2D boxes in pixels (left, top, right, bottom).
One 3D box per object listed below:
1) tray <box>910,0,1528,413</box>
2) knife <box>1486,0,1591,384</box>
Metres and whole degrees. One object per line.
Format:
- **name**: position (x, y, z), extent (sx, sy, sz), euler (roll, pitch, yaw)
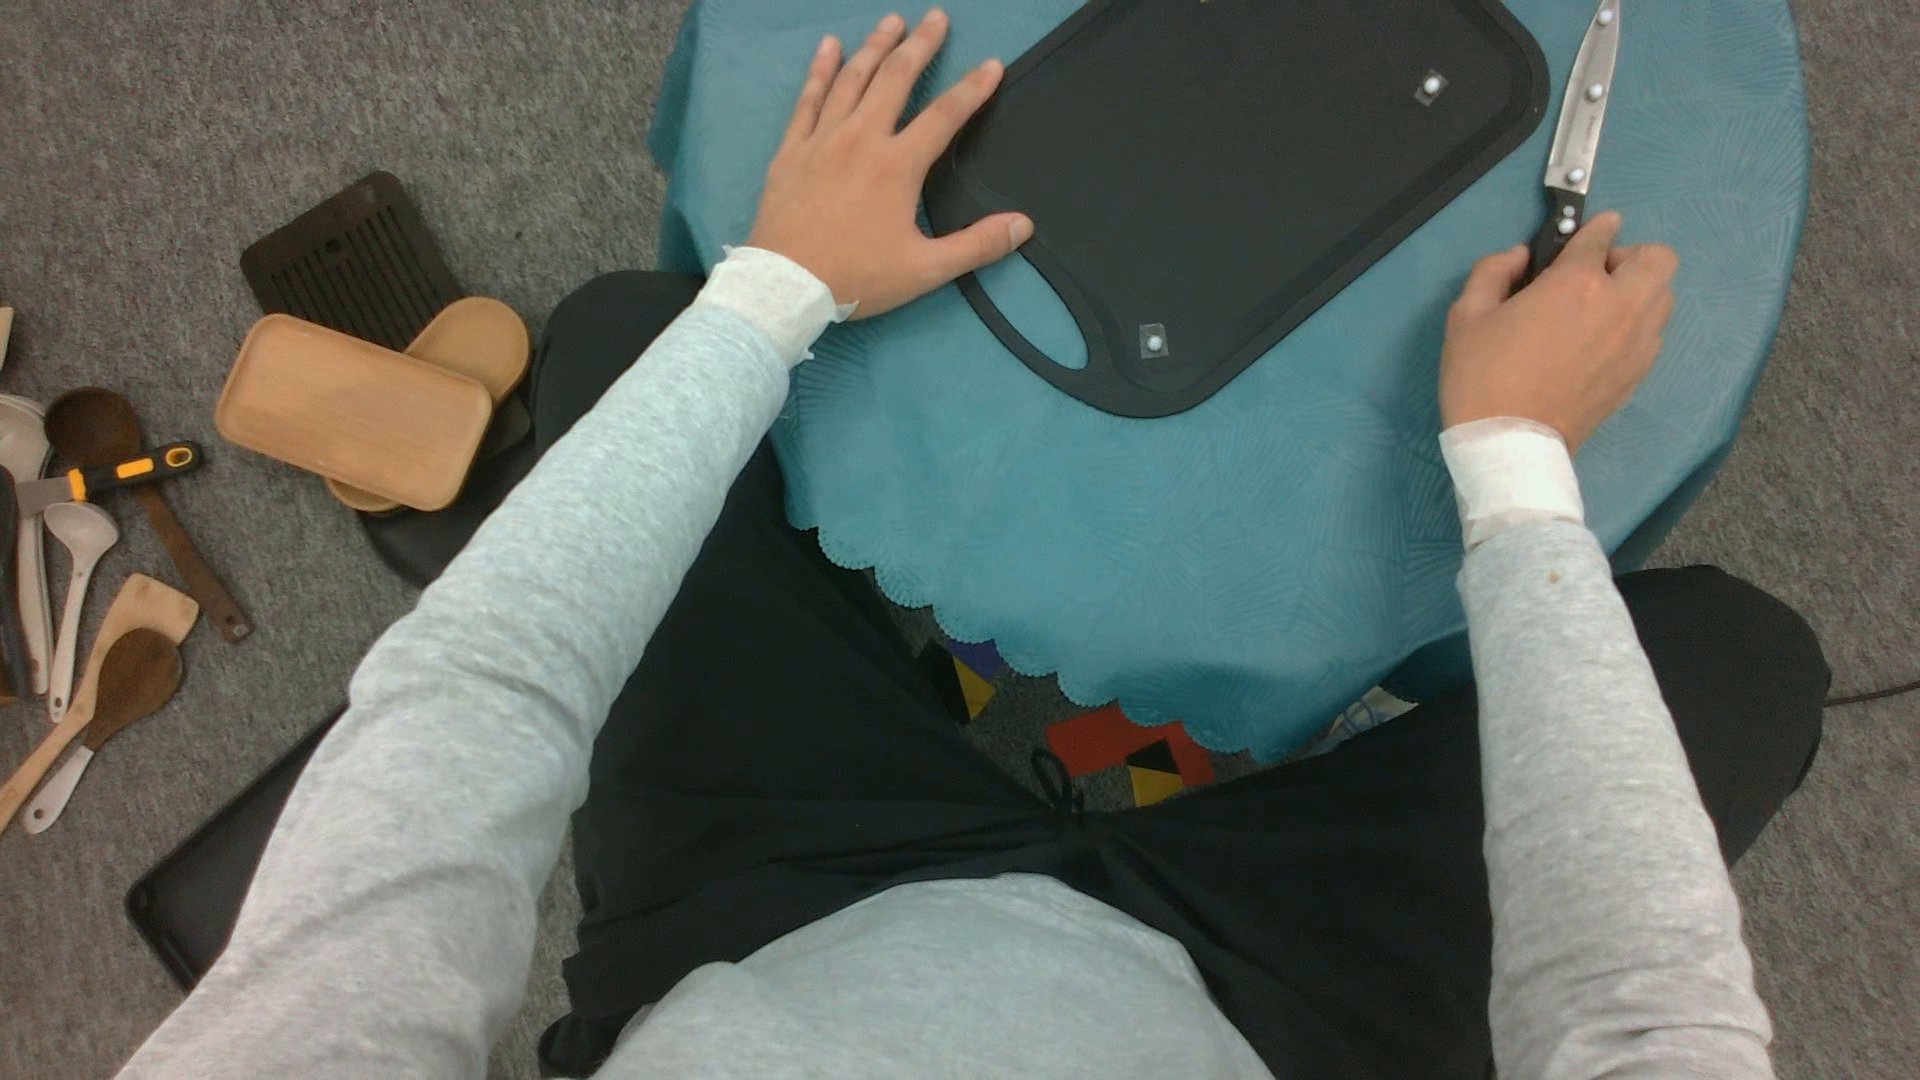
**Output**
- **tray**: position (0.133, -0.218, 0.740), extent (0.325, 0.010, 0.211), euler (-39, 82, -4)
- **knife**: position (0.311, -0.192, 0.728), extent (0.024, 0.016, 0.238), euler (15, 79, 3)
